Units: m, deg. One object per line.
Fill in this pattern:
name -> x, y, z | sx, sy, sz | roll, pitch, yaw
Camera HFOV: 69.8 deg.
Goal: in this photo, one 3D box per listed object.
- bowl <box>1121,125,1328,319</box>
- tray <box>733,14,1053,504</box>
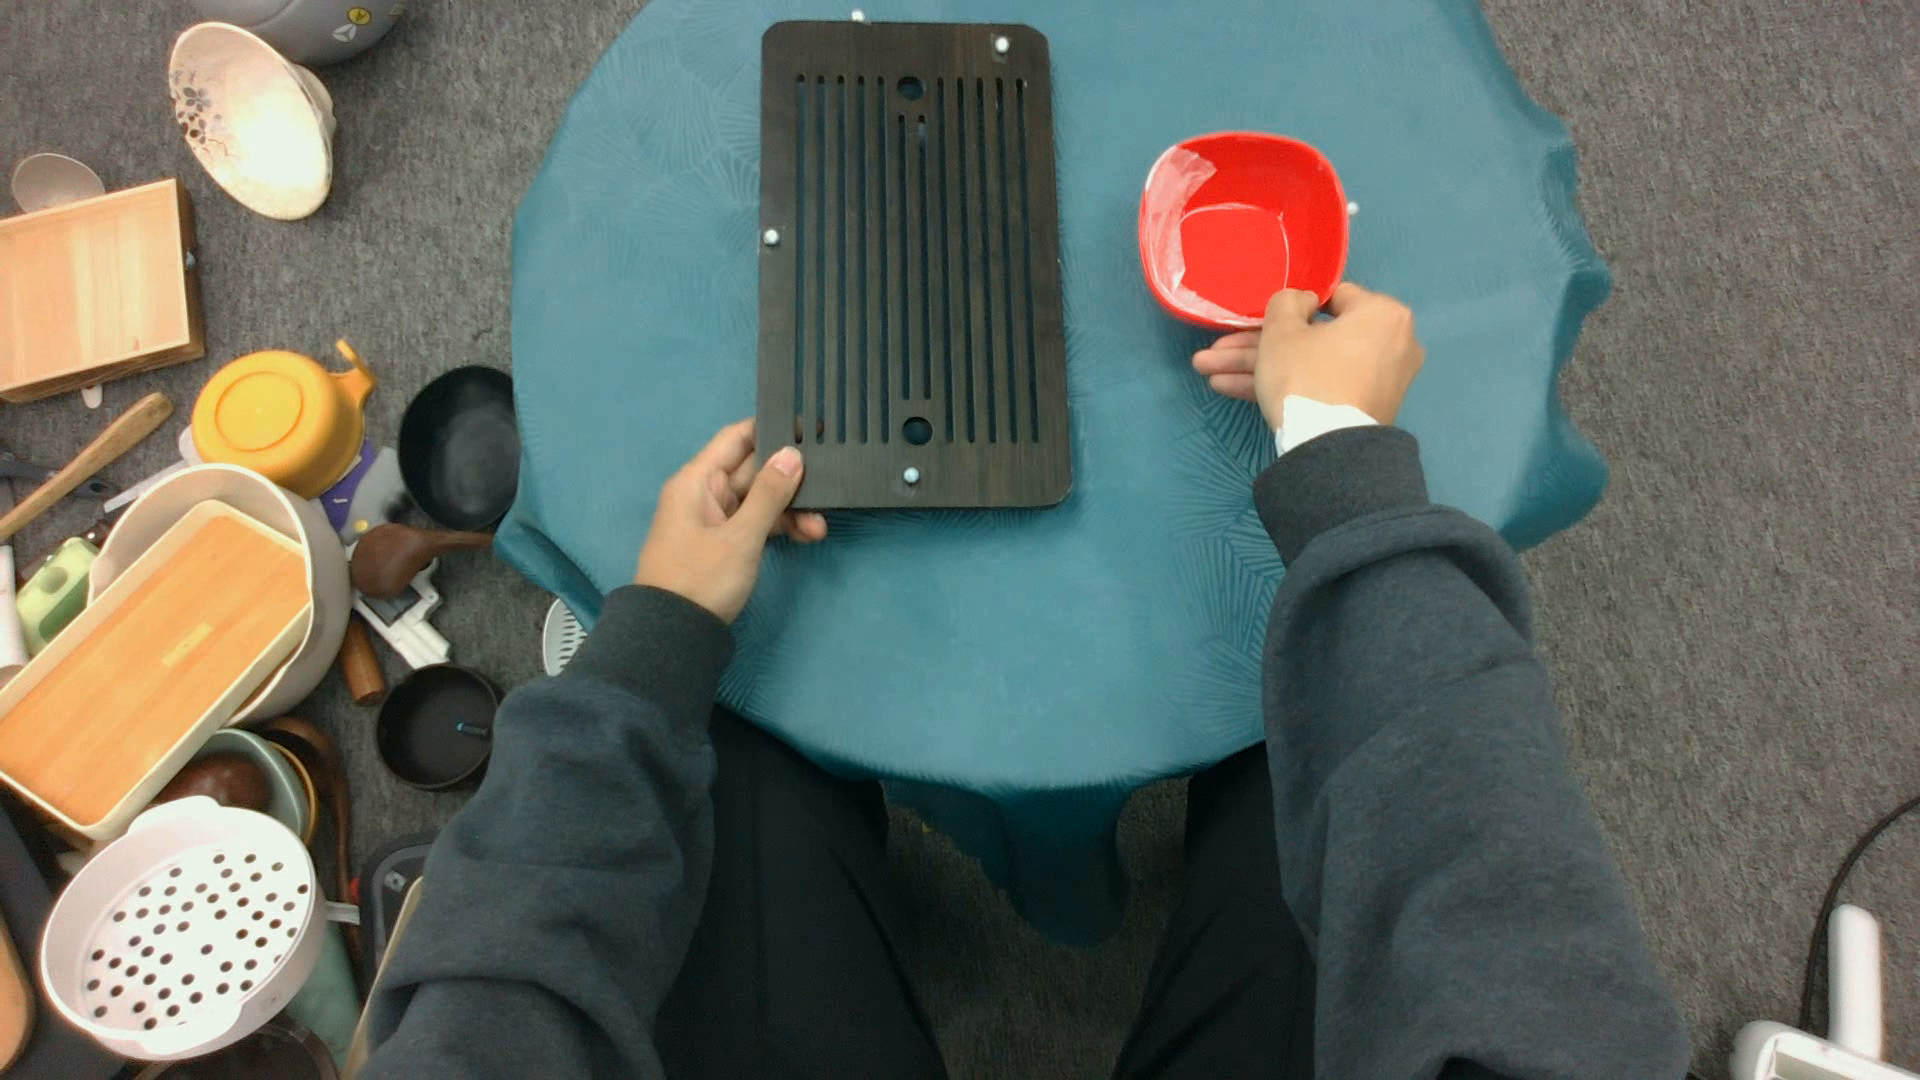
bowl -> 0.141, -0.166, 0.756 | 0.119, 0.051, 0.119 | 0, 75, 0
tray -> -0.040, -0.165, 0.776 | 0.170, 0.018, 0.306 | -1, 72, -4
